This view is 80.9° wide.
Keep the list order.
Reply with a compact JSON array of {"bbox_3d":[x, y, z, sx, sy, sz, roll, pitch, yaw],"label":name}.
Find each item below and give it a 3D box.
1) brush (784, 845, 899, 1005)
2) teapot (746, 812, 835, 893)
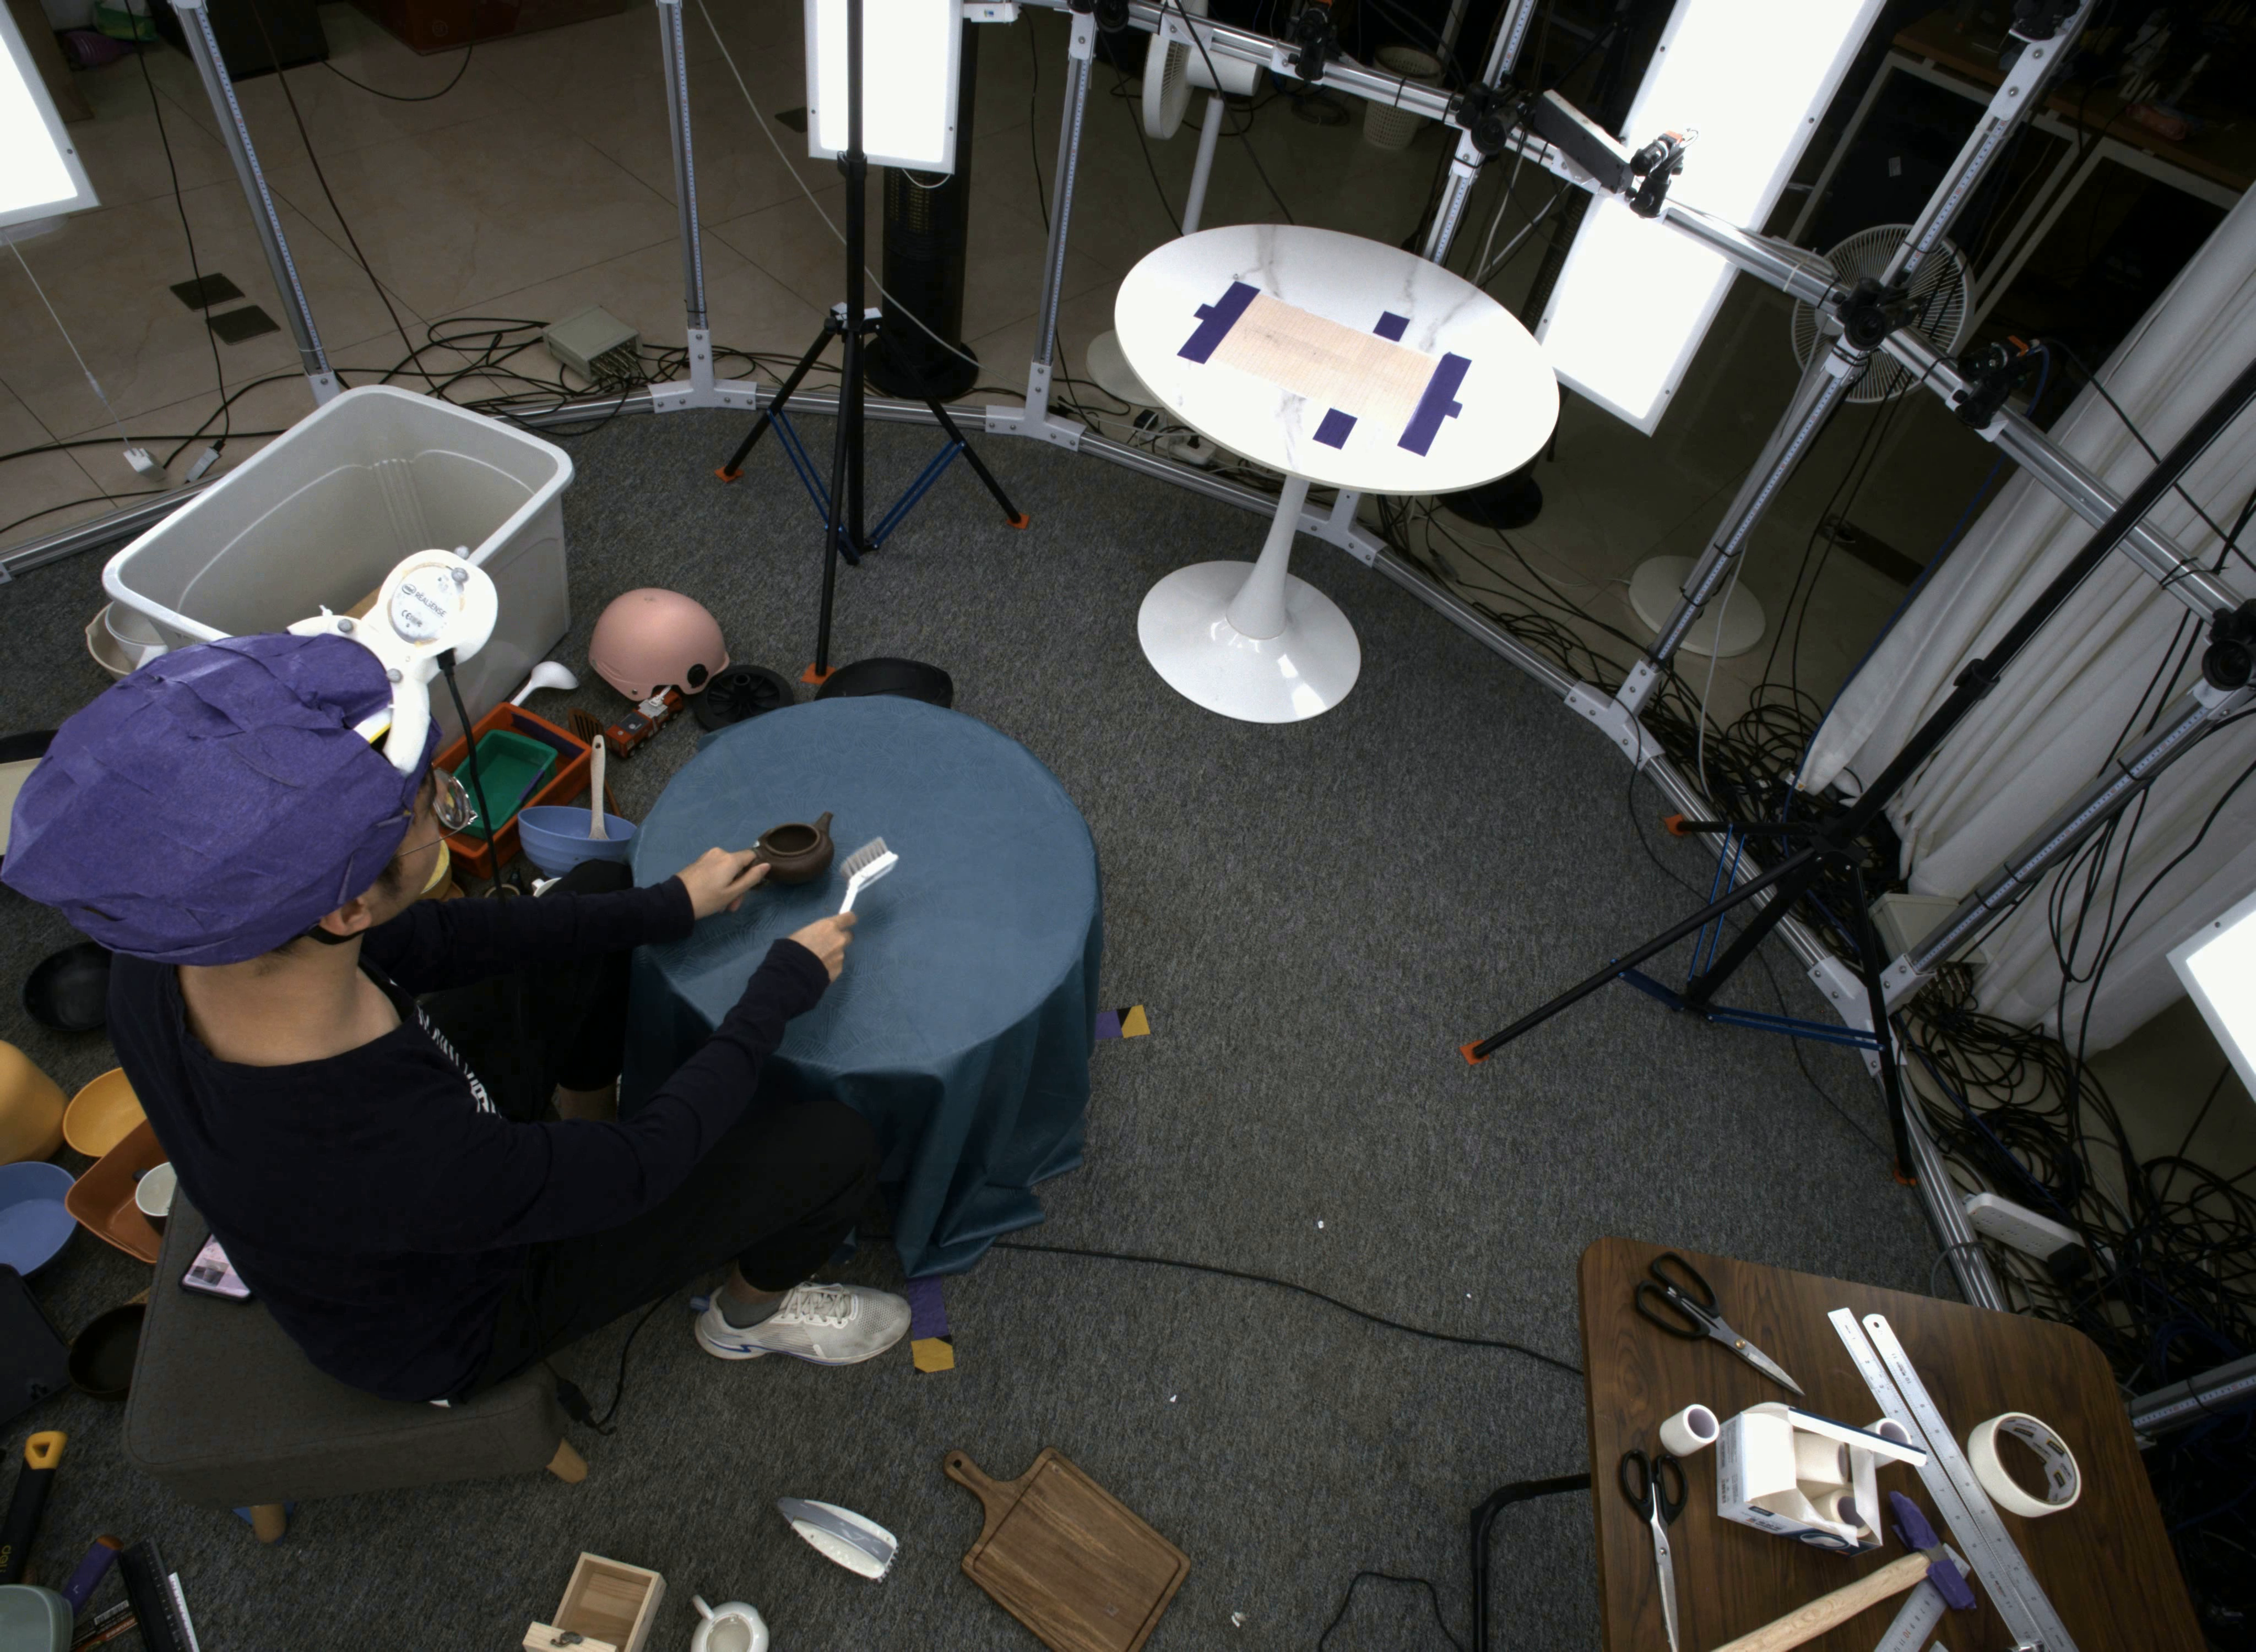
[{"bbox_3d":[-0.361,0.113,1.584,0.050,0.034,0.242,36,53,-2],"label":"brush"},{"bbox_3d":[-0.429,0.036,1.653,0.100,0.055,0.153,20,37,19],"label":"teapot"}]
